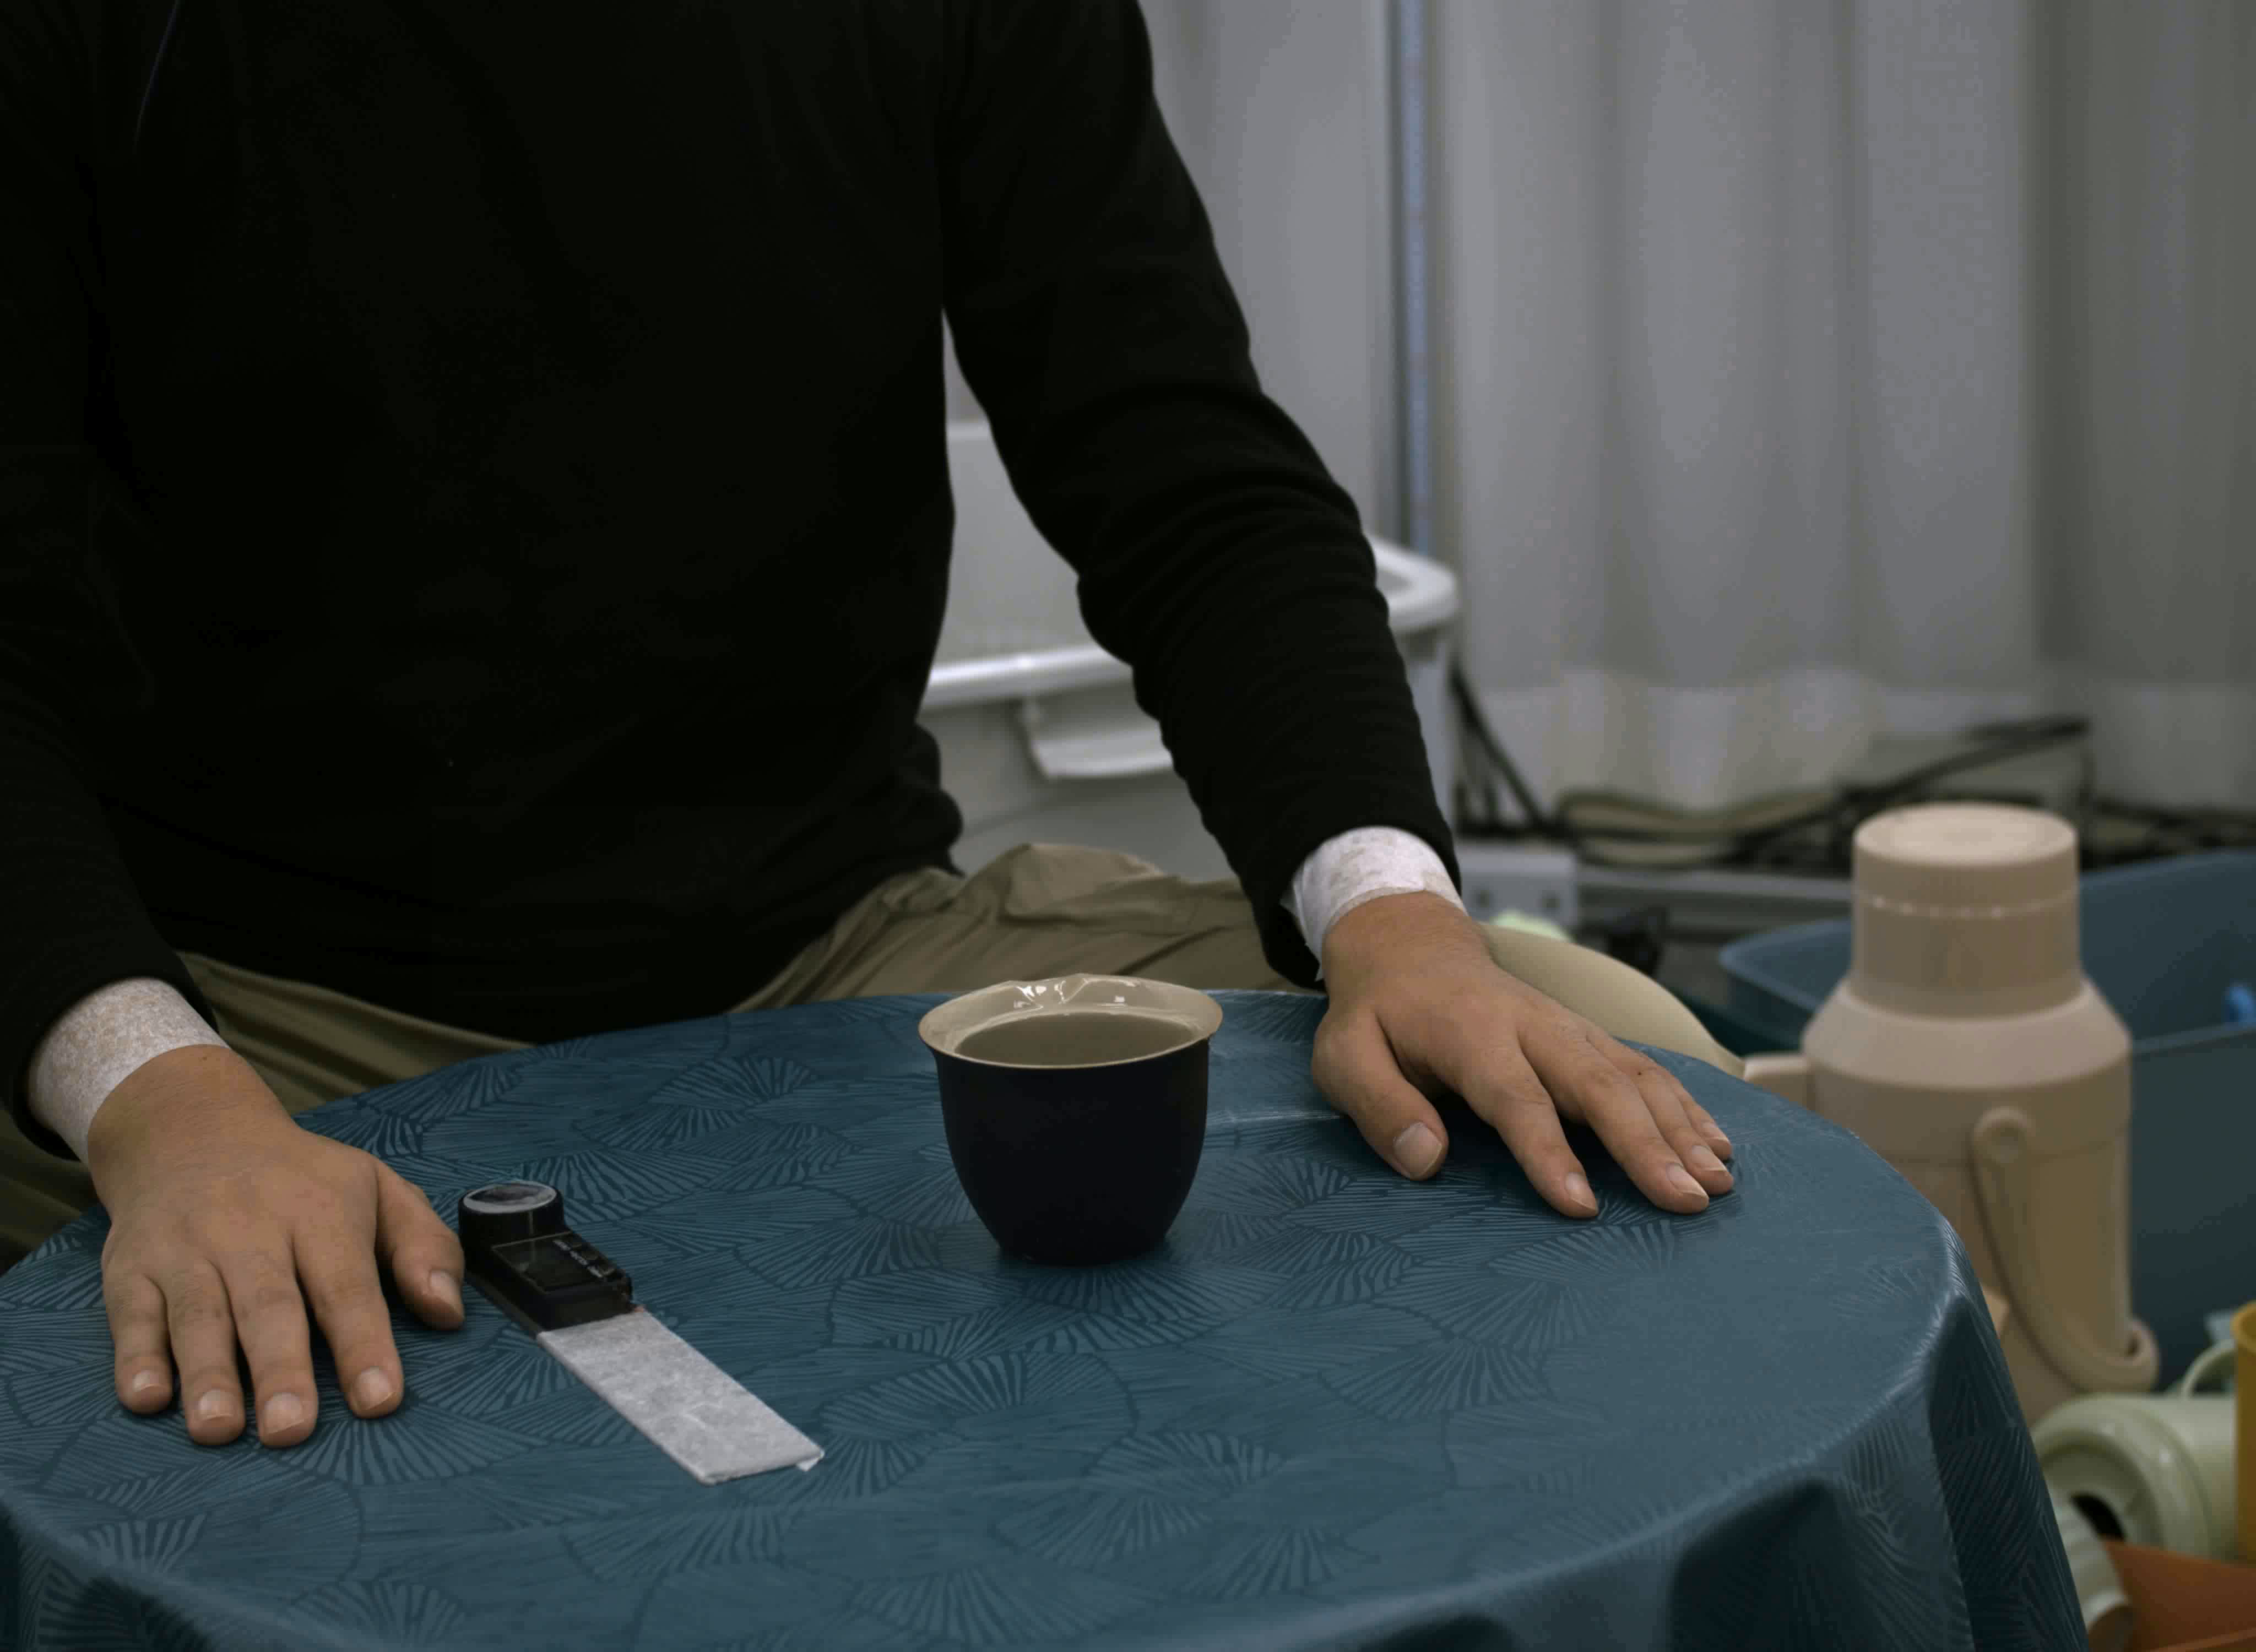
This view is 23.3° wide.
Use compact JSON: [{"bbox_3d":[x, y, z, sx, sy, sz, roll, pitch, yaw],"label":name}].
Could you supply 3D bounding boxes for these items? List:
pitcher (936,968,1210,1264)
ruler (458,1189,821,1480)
[{"bbox_3d":[-0.016,0.090,1.668,0.083,0.071,0.097,-6,15,-8],"label":"pitcher"},{"bbox_3d":[-0.148,0.144,1.588,0.038,0.024,0.220,-16,18,-22],"label":"ruler"}]
